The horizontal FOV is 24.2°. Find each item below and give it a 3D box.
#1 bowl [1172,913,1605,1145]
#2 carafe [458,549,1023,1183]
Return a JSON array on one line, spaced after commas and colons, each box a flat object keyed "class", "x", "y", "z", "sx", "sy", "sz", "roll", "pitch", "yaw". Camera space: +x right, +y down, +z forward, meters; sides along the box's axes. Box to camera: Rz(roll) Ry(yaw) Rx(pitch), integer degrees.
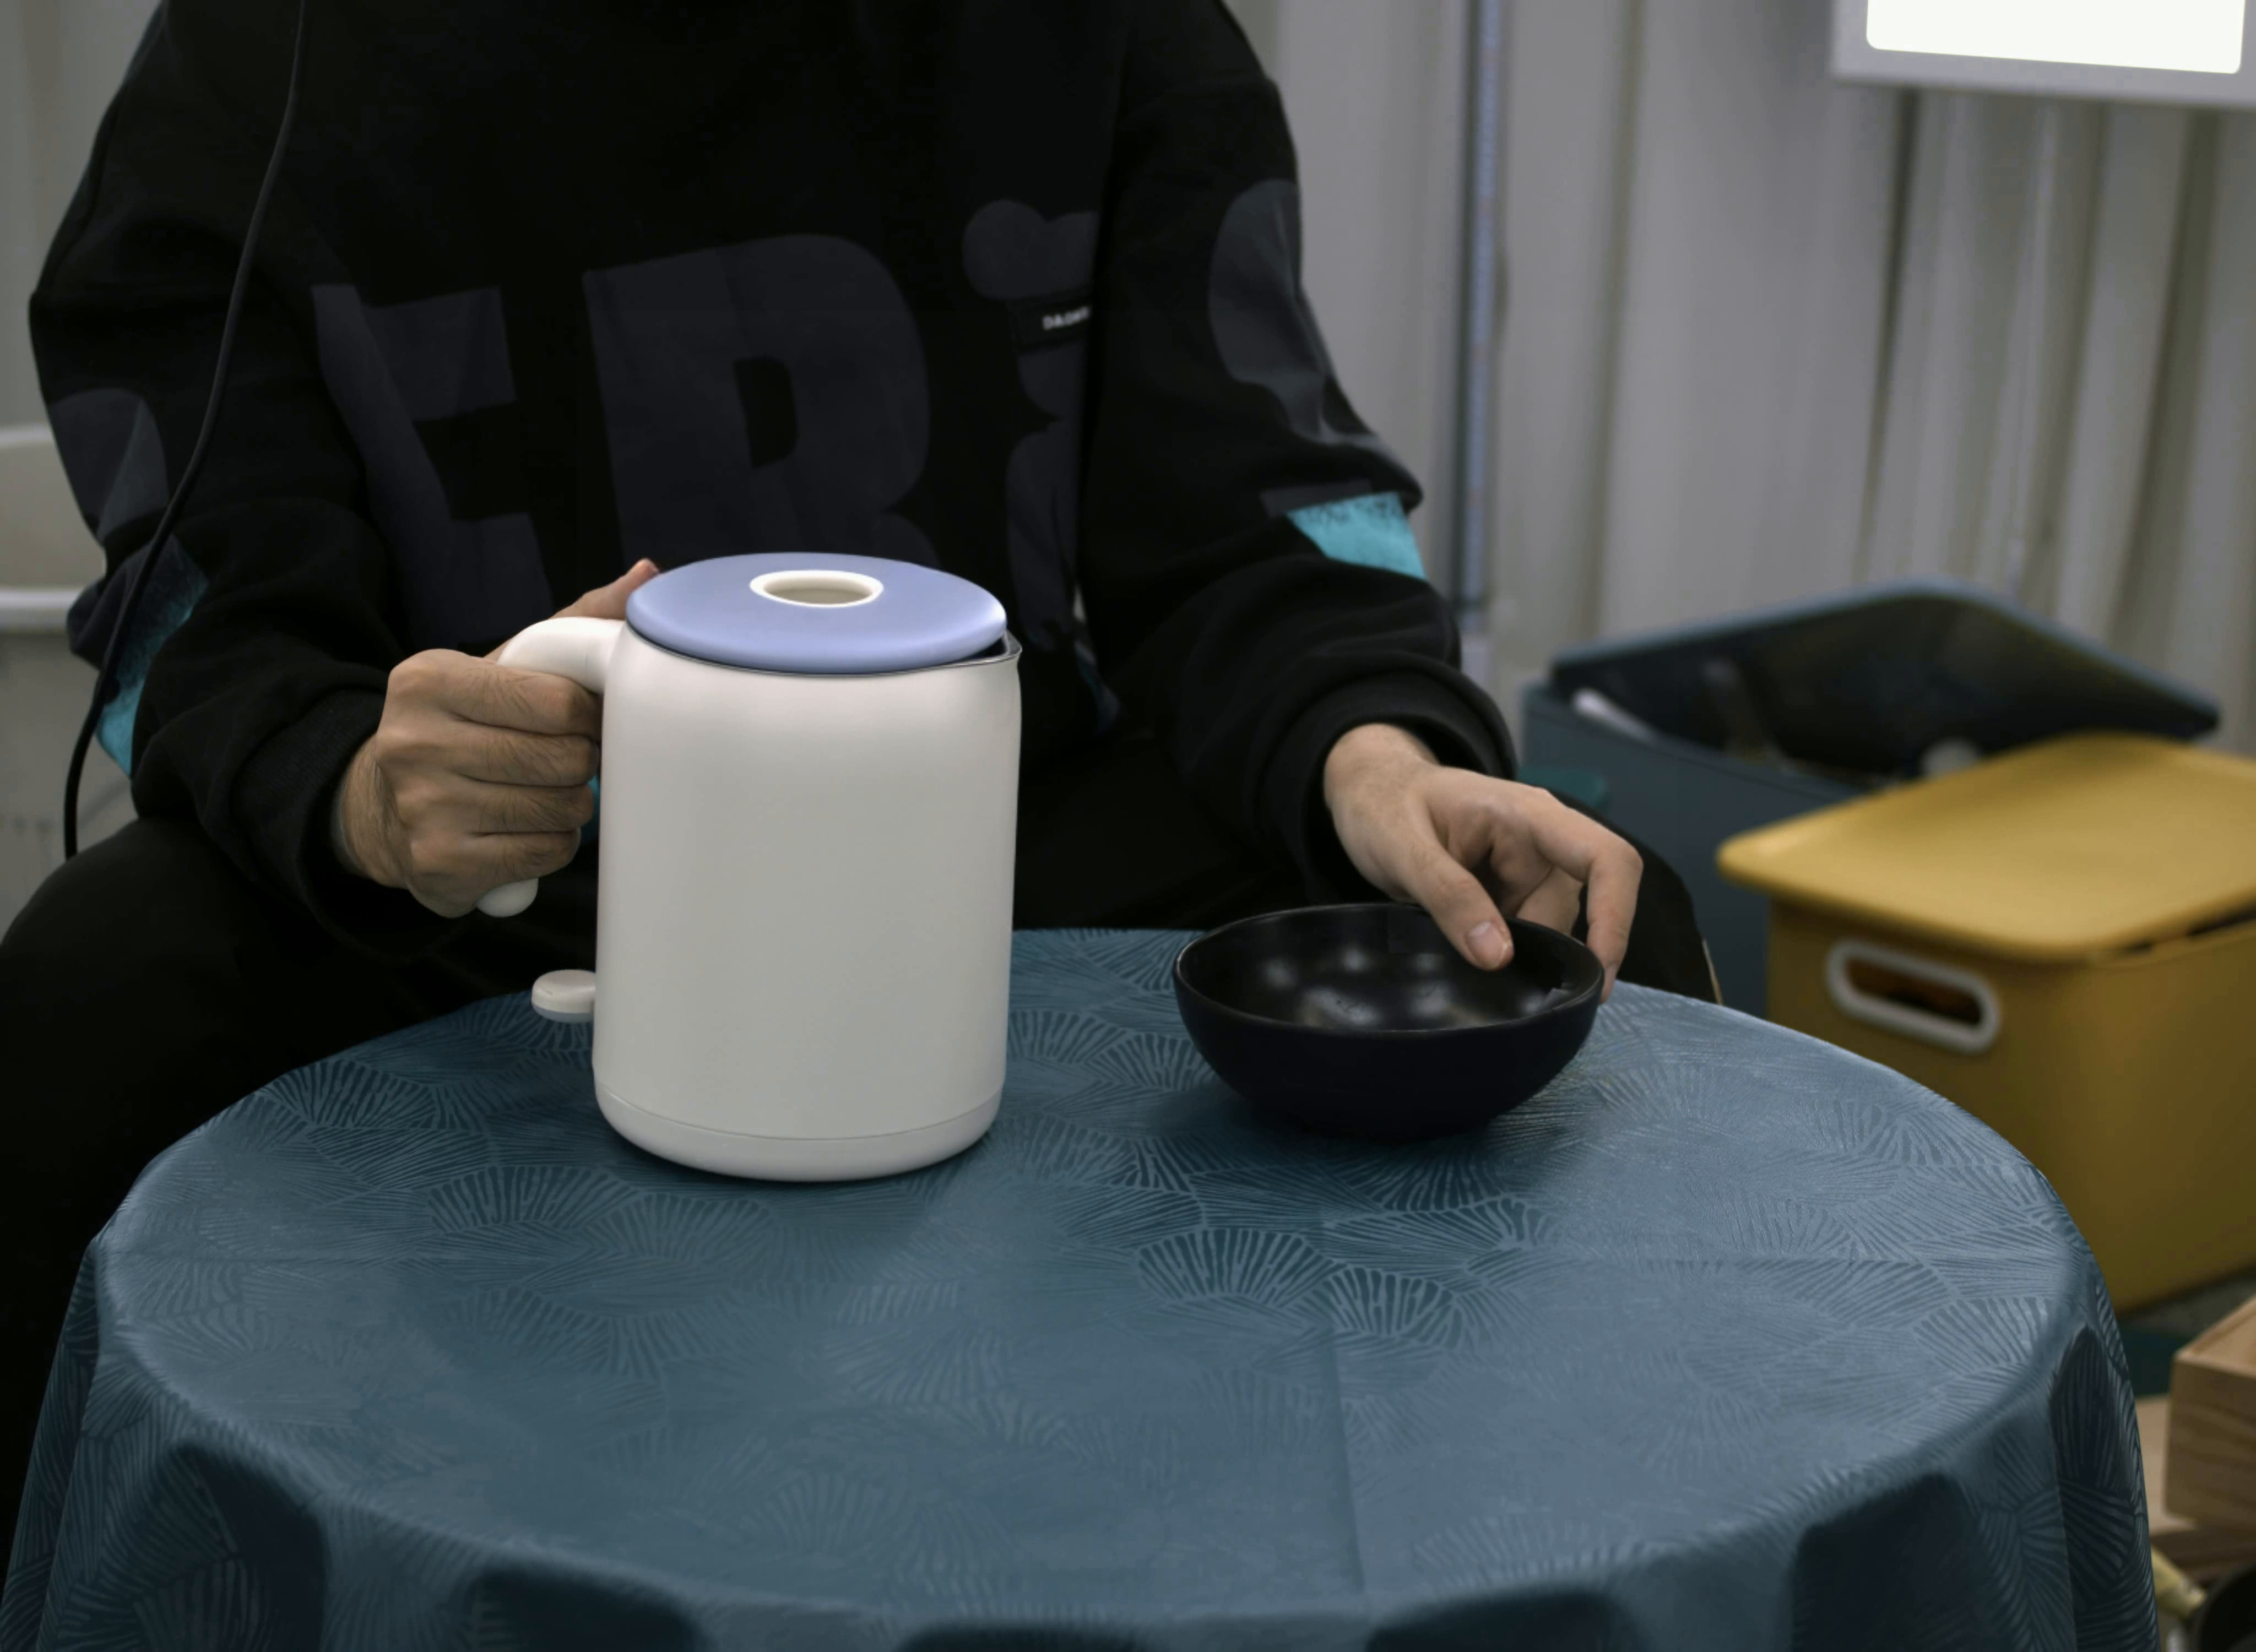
[{"class": "bowl", "x": 0.084, "y": 0.069, "z": 1.690, "sx": 0.139, "sy": 0.050, "sz": 0.139, "roll": -1, "pitch": 14, "yaw": 1}, {"class": "carafe", "x": -0.123, "y": 0.009, "z": 1.655, "sx": 0.189, "sy": 0.184, "sz": 0.132, "roll": 7, "pitch": 16, "yaw": 19}]
